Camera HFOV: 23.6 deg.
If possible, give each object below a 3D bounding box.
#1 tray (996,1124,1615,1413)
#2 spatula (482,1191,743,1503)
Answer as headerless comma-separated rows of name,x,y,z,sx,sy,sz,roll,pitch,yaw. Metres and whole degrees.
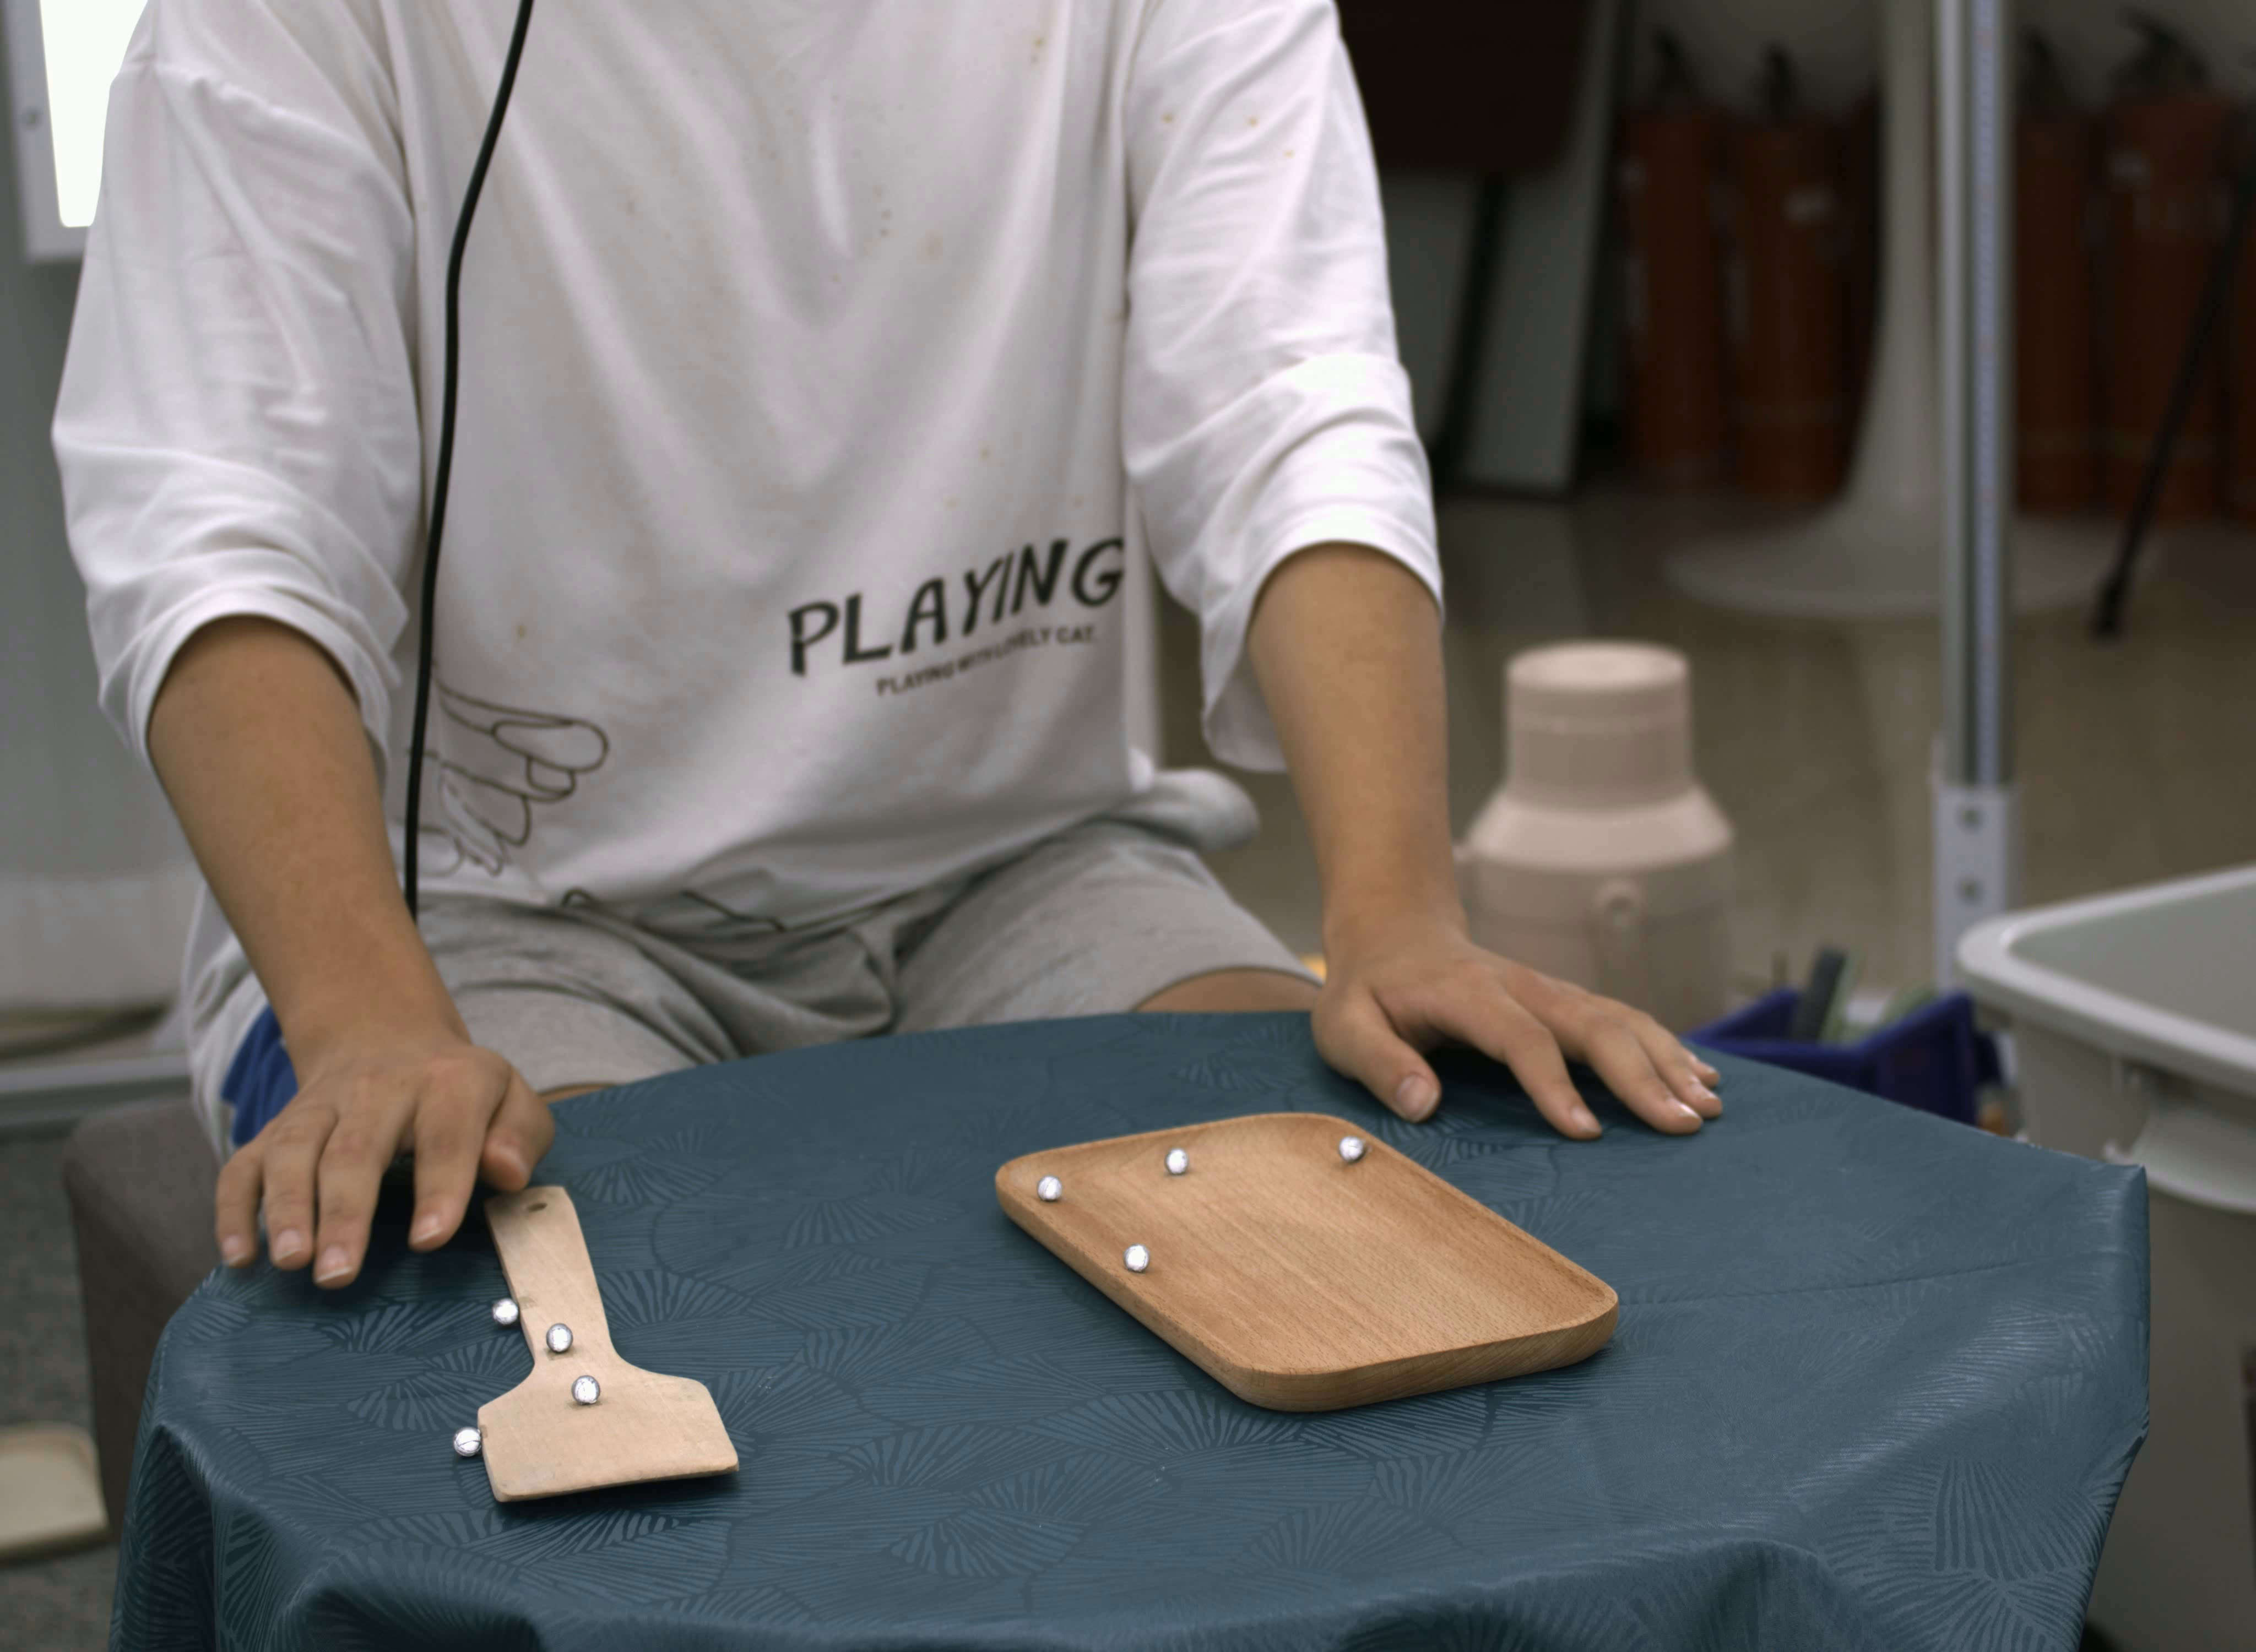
tray,0.051,0.134,1.672,0.128,0.023,0.253,-11,15,-17
spatula,-0.171,0.156,1.657,0.071,0.011,0.295,-7,14,-10
